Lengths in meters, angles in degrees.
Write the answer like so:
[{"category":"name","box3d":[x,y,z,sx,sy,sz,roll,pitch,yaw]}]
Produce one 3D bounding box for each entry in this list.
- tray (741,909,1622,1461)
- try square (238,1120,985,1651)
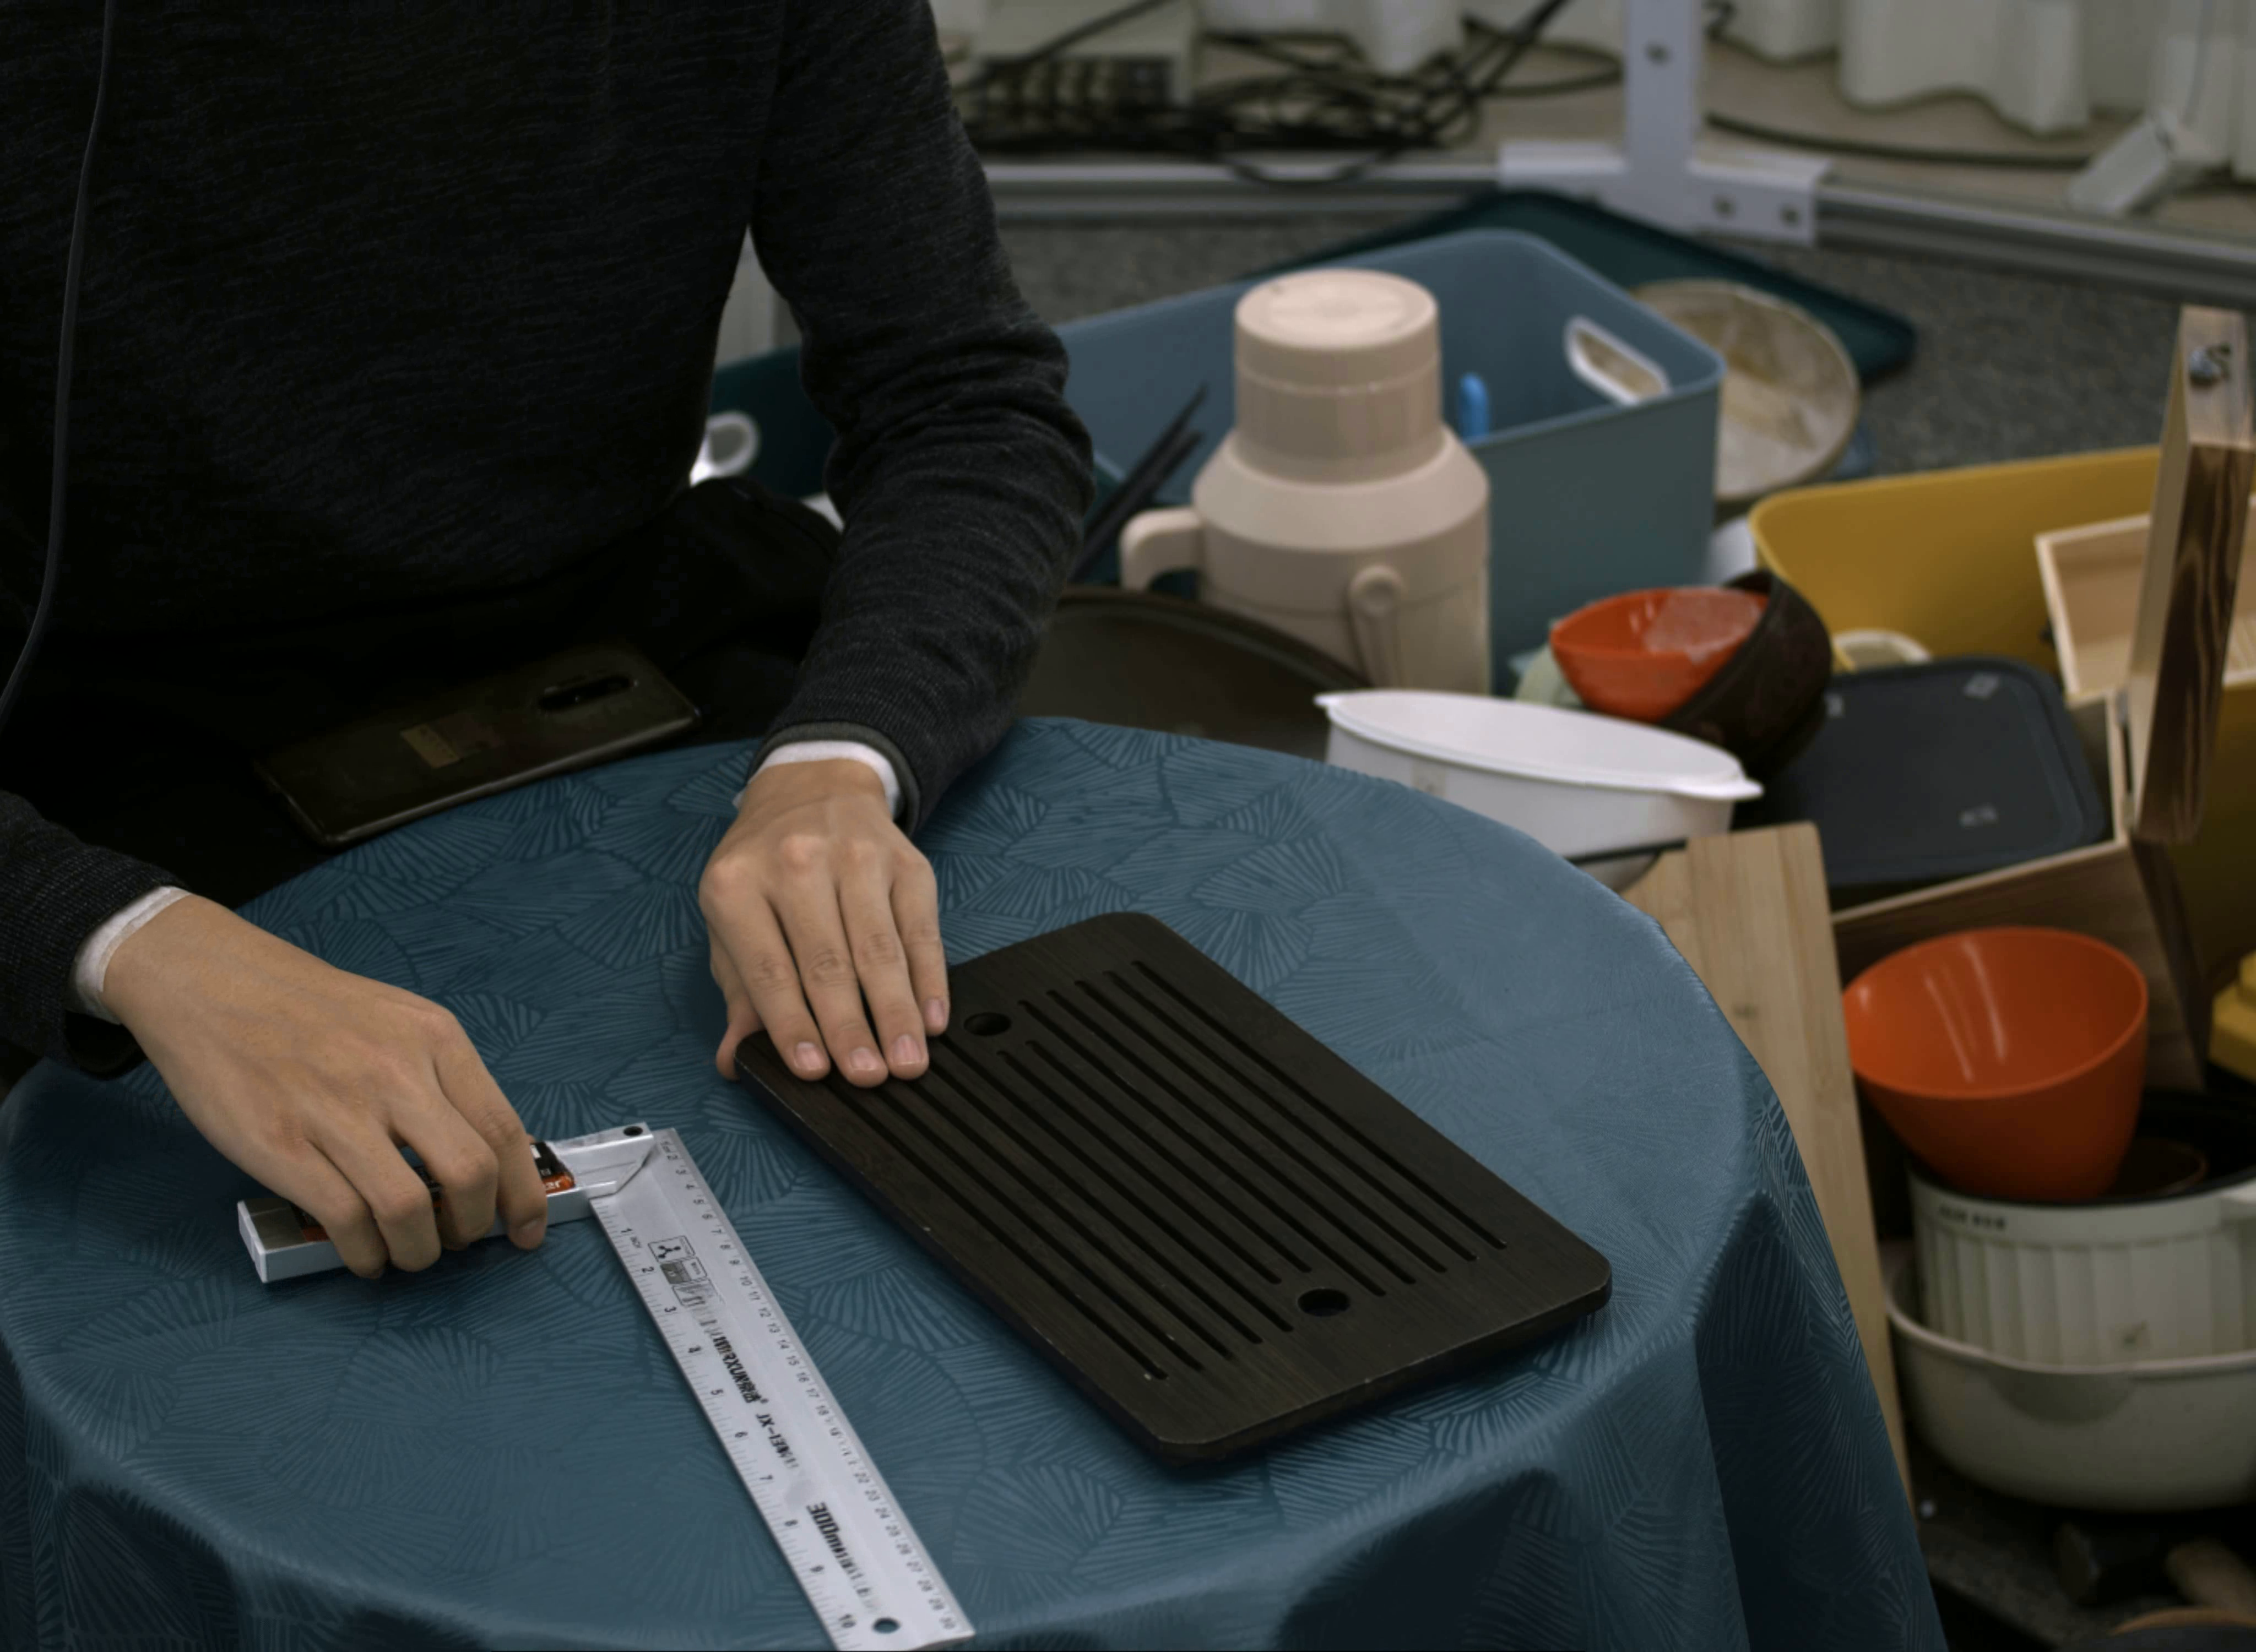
[{"category":"tray","box3d":[0.012,0.114,1.854,0.171,0.018,0.307,-18,31,-26]},{"category":"try square","box3d":[-0.168,0.183,1.749,0.152,0.016,0.315,-11,29,-18]}]
